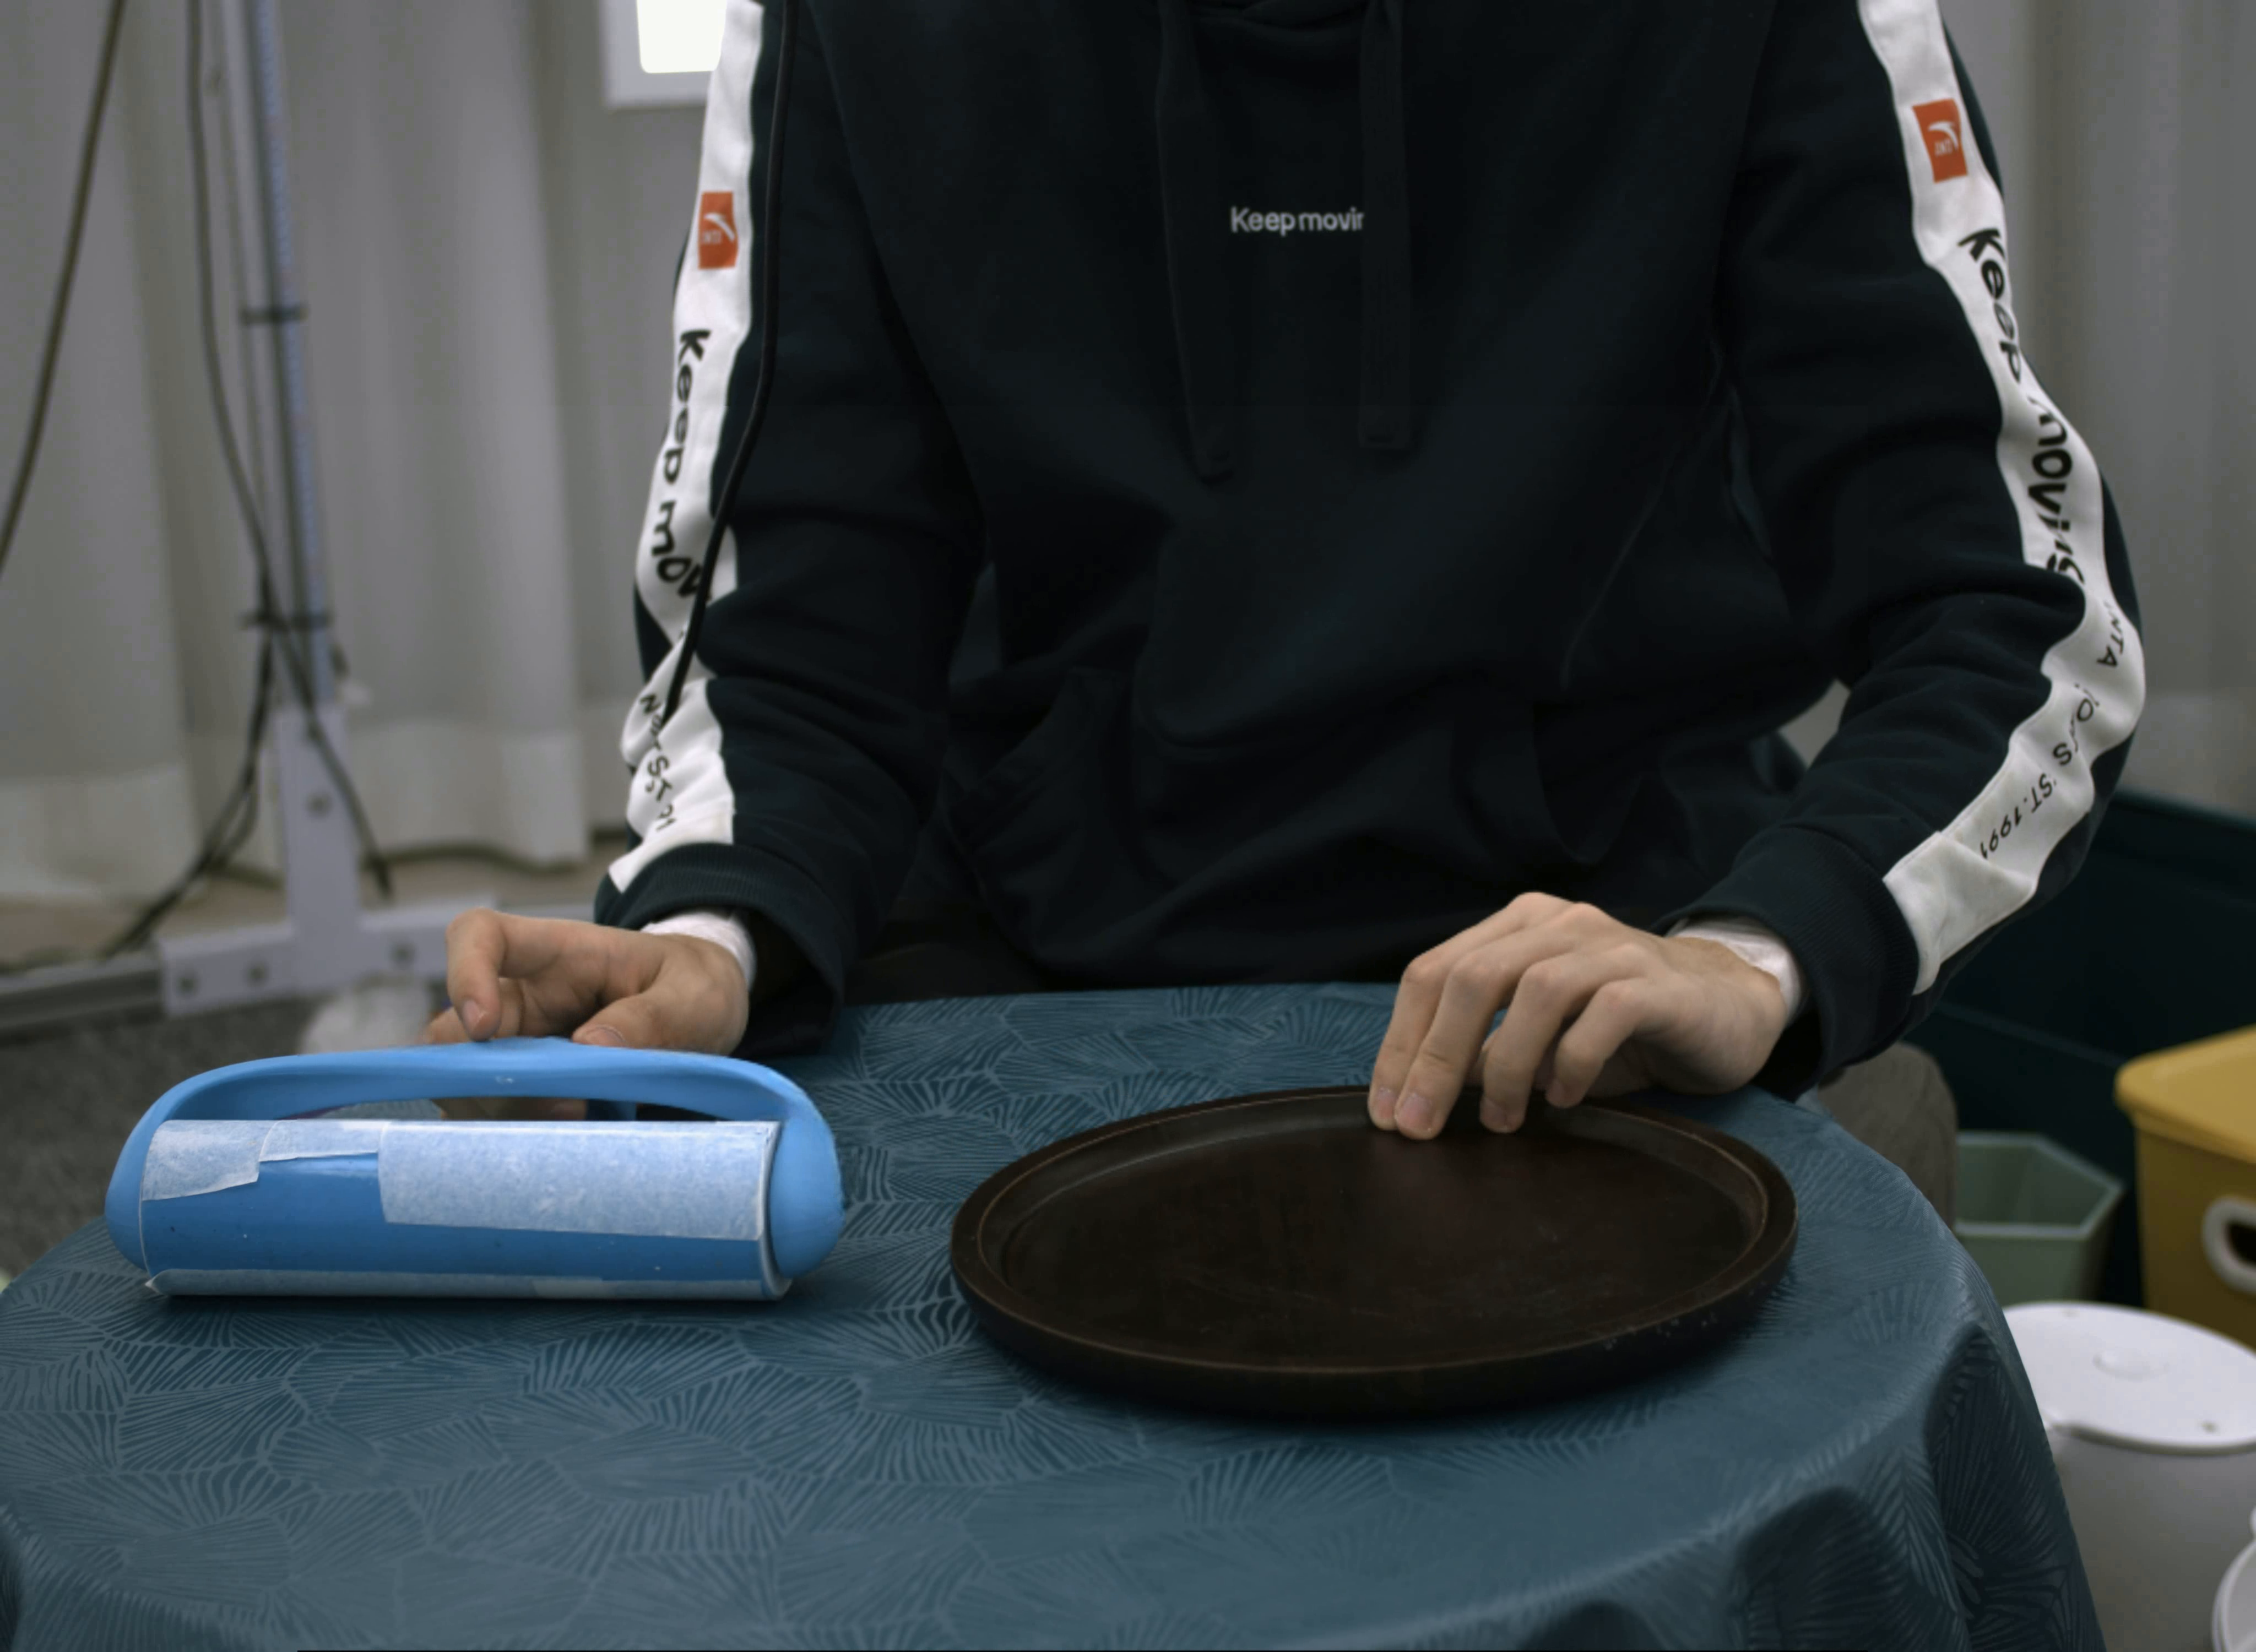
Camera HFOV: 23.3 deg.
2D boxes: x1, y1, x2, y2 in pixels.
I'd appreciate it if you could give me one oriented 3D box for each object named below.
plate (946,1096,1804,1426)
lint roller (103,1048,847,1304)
[{"bbox_3d":[0.072,0.125,1.615,0.254,0.029,0.256,-2,16,0],"label":"plate"},{"bbox_3d":[-0.190,0.099,1.701,0.228,0.067,0.181,-3,15,8],"label":"lint roller"}]
